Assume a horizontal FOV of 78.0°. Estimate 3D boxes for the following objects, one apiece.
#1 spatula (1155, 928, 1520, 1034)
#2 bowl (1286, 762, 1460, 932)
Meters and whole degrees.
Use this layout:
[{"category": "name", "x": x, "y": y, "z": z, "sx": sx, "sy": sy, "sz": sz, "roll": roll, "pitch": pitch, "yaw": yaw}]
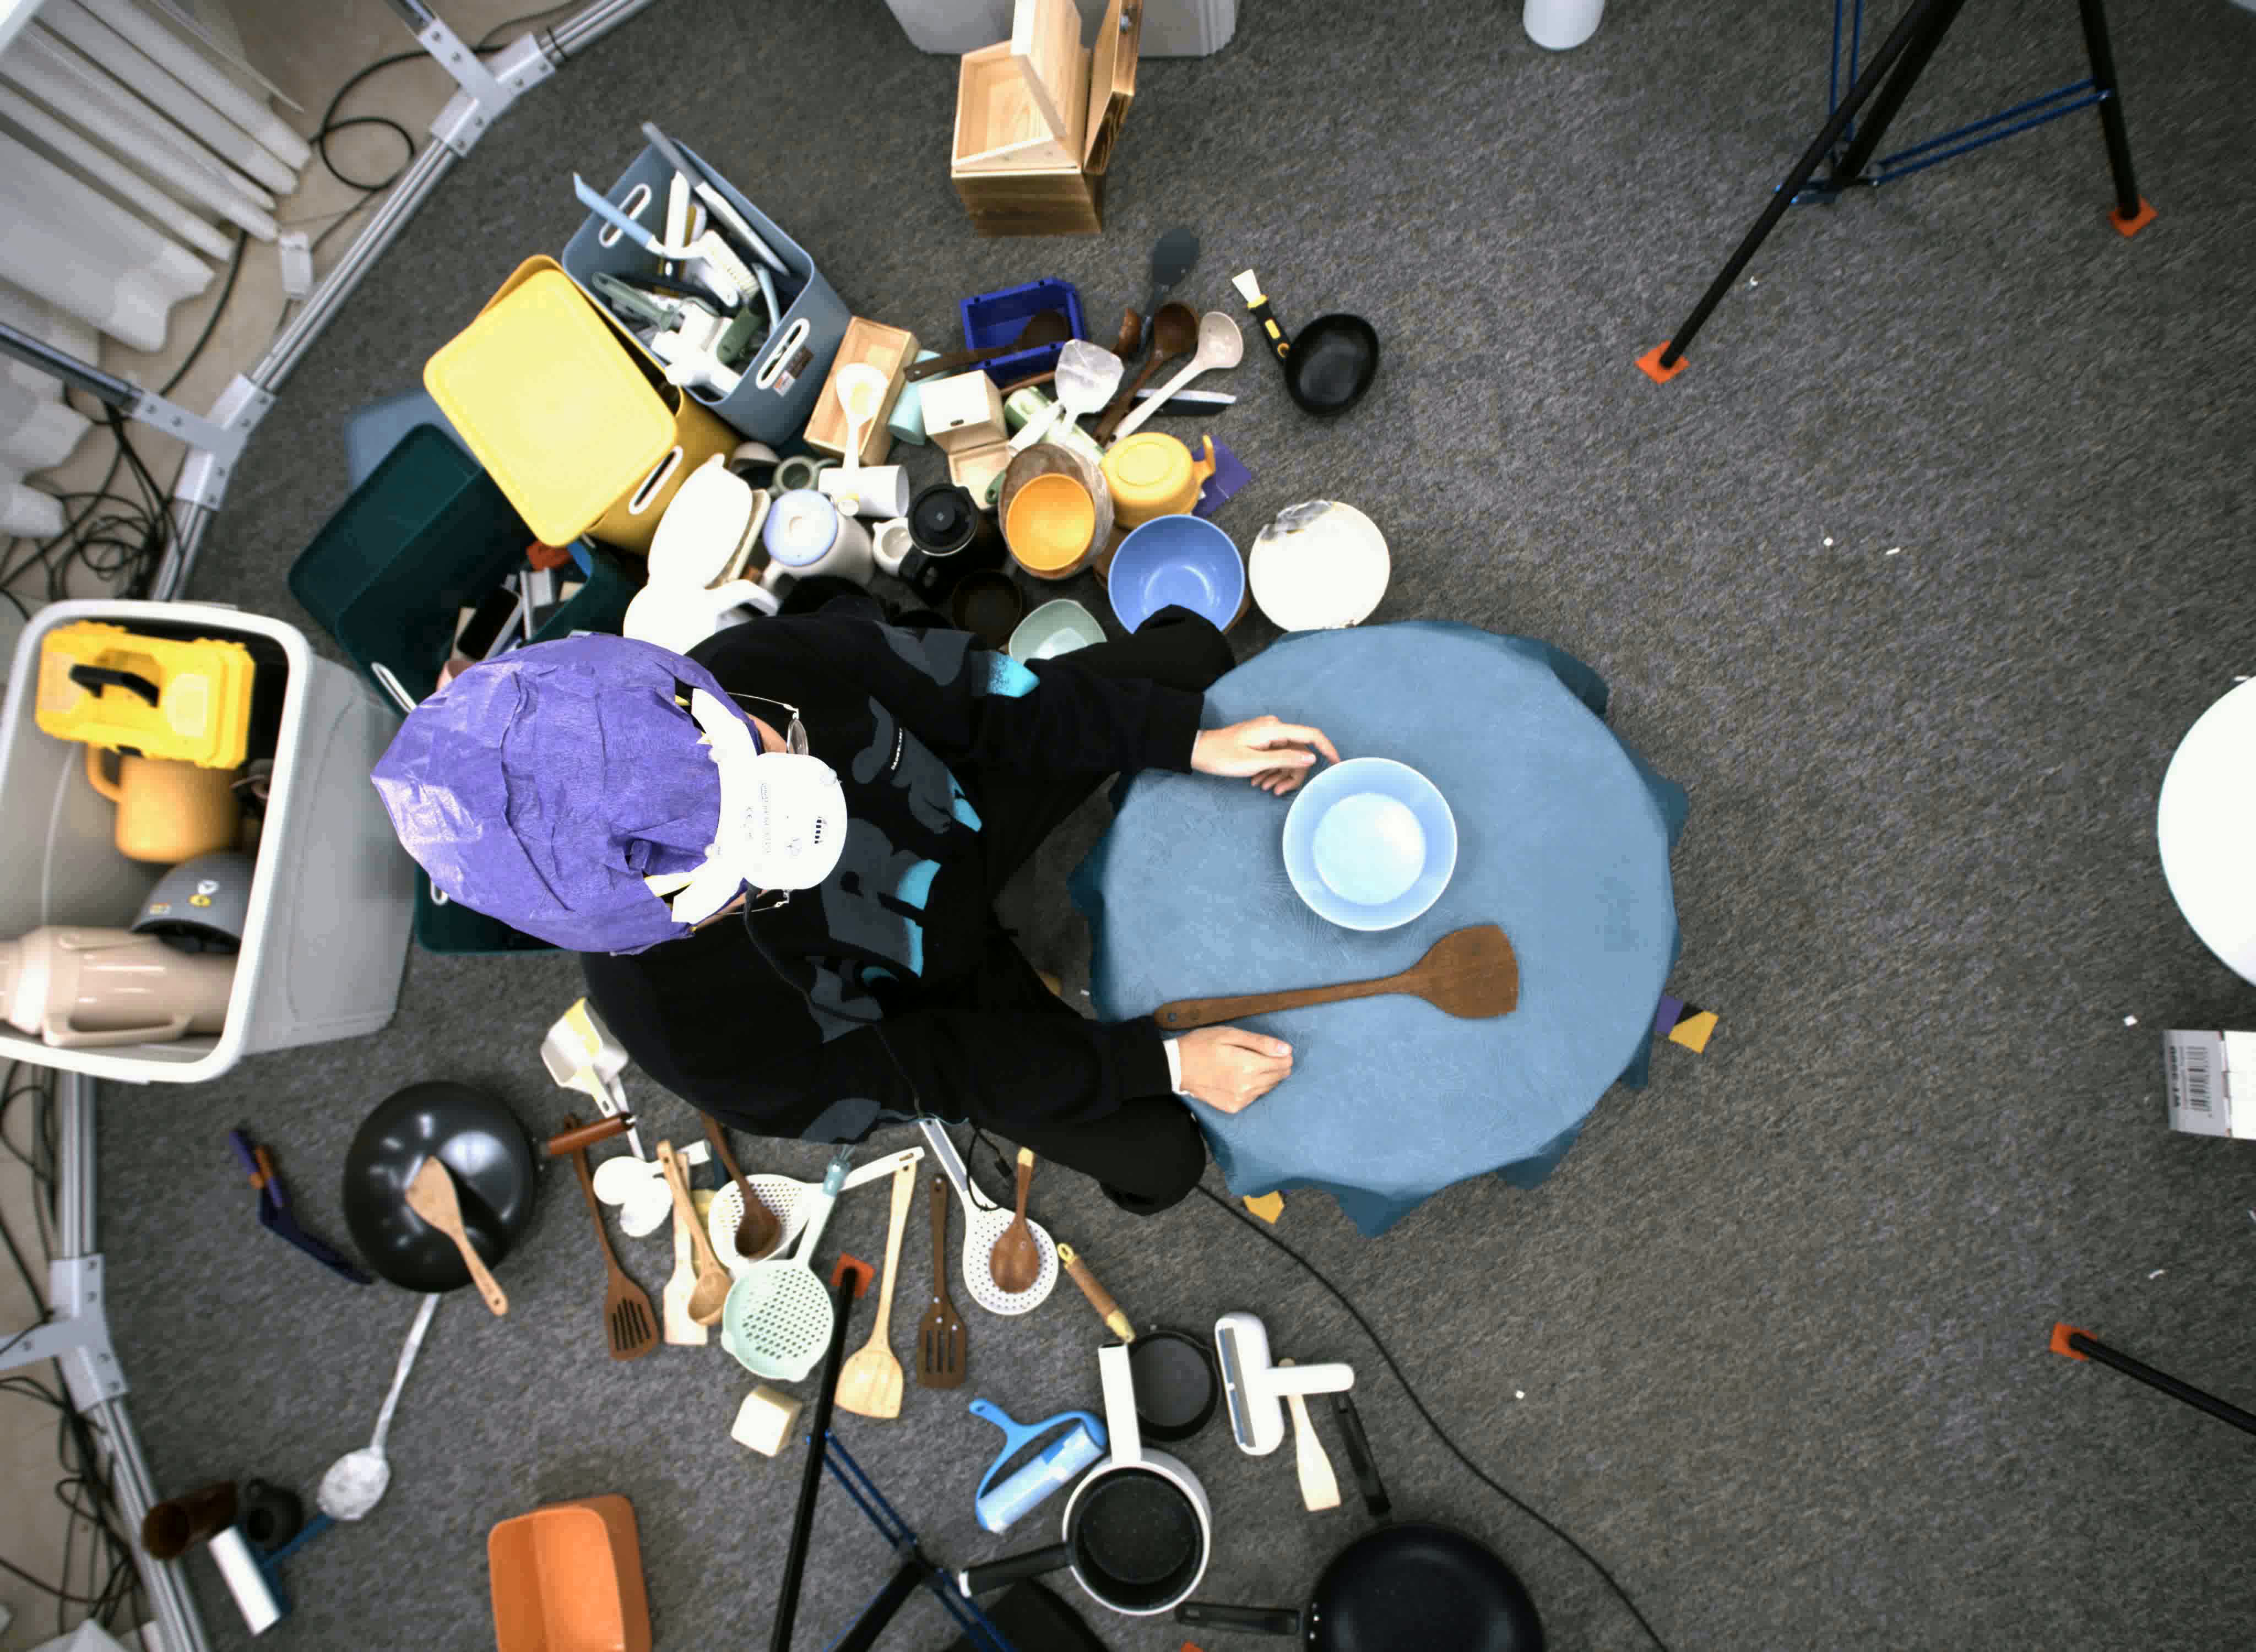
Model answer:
[{"category": "spatula", "x": 0.216, "y": 0.179, "z": 1.460, "sx": 0.388, "sy": 0.016, "sz": 0.095, "roll": -10, "pitch": 84, "yaw": 10}, {"category": "bowl", "x": 0.254, "y": 0.024, "z": 1.436, "sx": 0.177, "sy": 0.070, "sz": 0.175, "roll": -1, "pitch": 85, "yaw": 11}]
